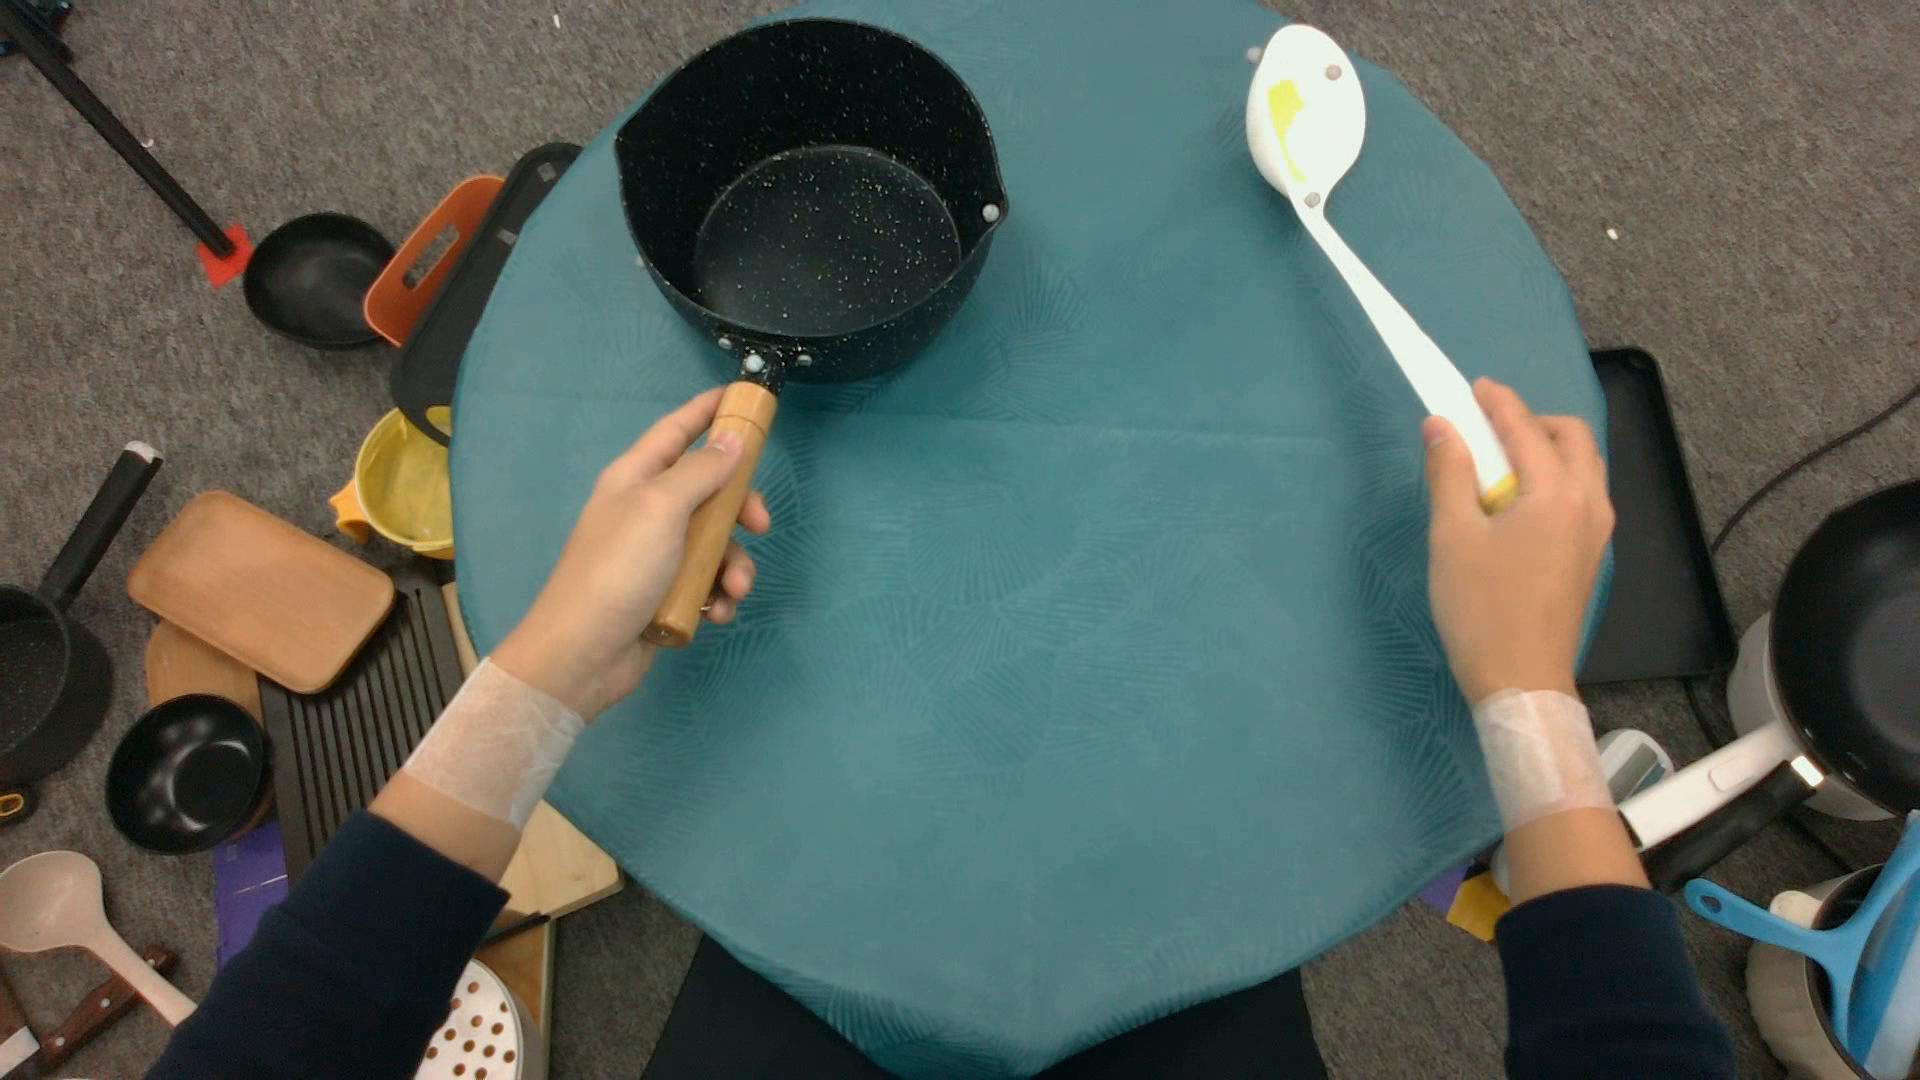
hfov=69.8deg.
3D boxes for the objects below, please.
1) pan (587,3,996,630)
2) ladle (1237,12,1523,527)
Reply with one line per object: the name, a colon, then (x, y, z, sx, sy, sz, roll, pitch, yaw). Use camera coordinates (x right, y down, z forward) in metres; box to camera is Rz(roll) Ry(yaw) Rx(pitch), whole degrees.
pan: (-0.097, -0.105, 0.676, 0.207, 0.108, 0.344, 10, 69, 3)
ladle: (0.214, -0.144, 0.694, 0.069, 0.090, 0.294, -41, 53, 31)
